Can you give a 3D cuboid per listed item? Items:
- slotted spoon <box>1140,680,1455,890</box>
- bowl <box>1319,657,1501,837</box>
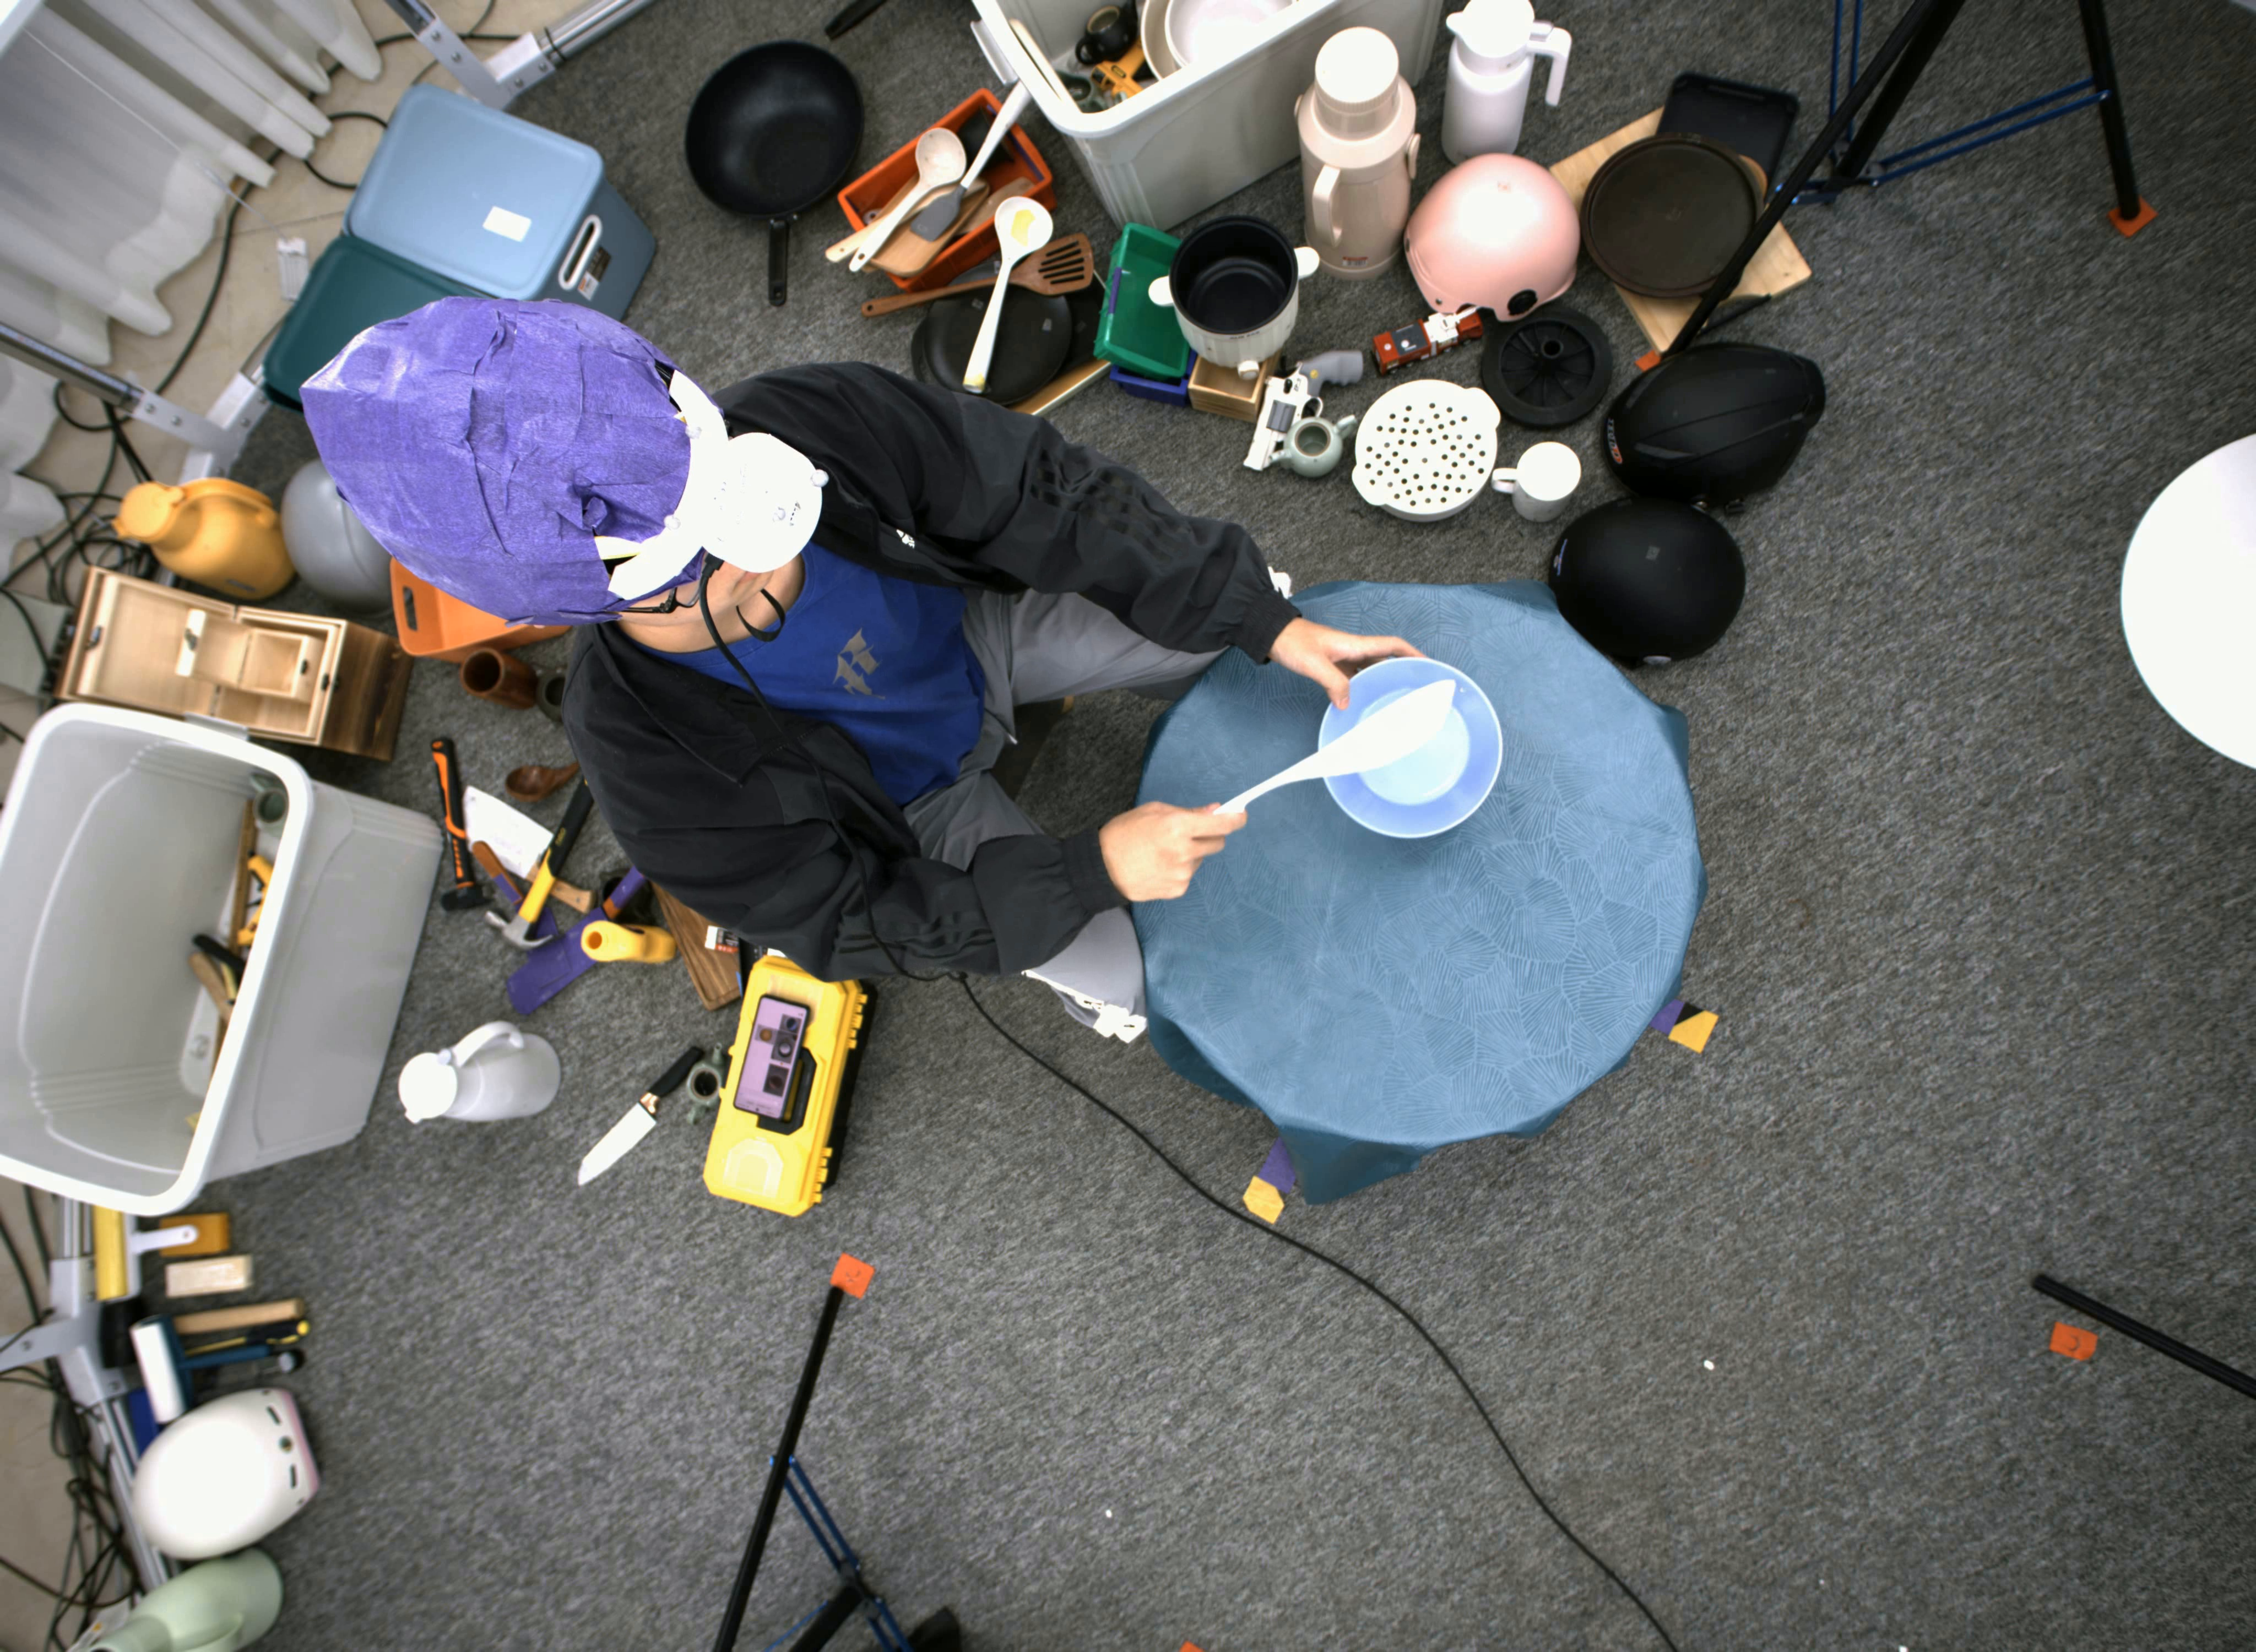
[{"bbox_3d":[0.150,-0.035,1.270,0.353,0.135,0.050,-27,90,23],"label":"slotted spoon"},{"bbox_3d":[0.280,-0.080,1.363,0.177,0.069,0.177,1,96,14],"label":"bowl"}]
